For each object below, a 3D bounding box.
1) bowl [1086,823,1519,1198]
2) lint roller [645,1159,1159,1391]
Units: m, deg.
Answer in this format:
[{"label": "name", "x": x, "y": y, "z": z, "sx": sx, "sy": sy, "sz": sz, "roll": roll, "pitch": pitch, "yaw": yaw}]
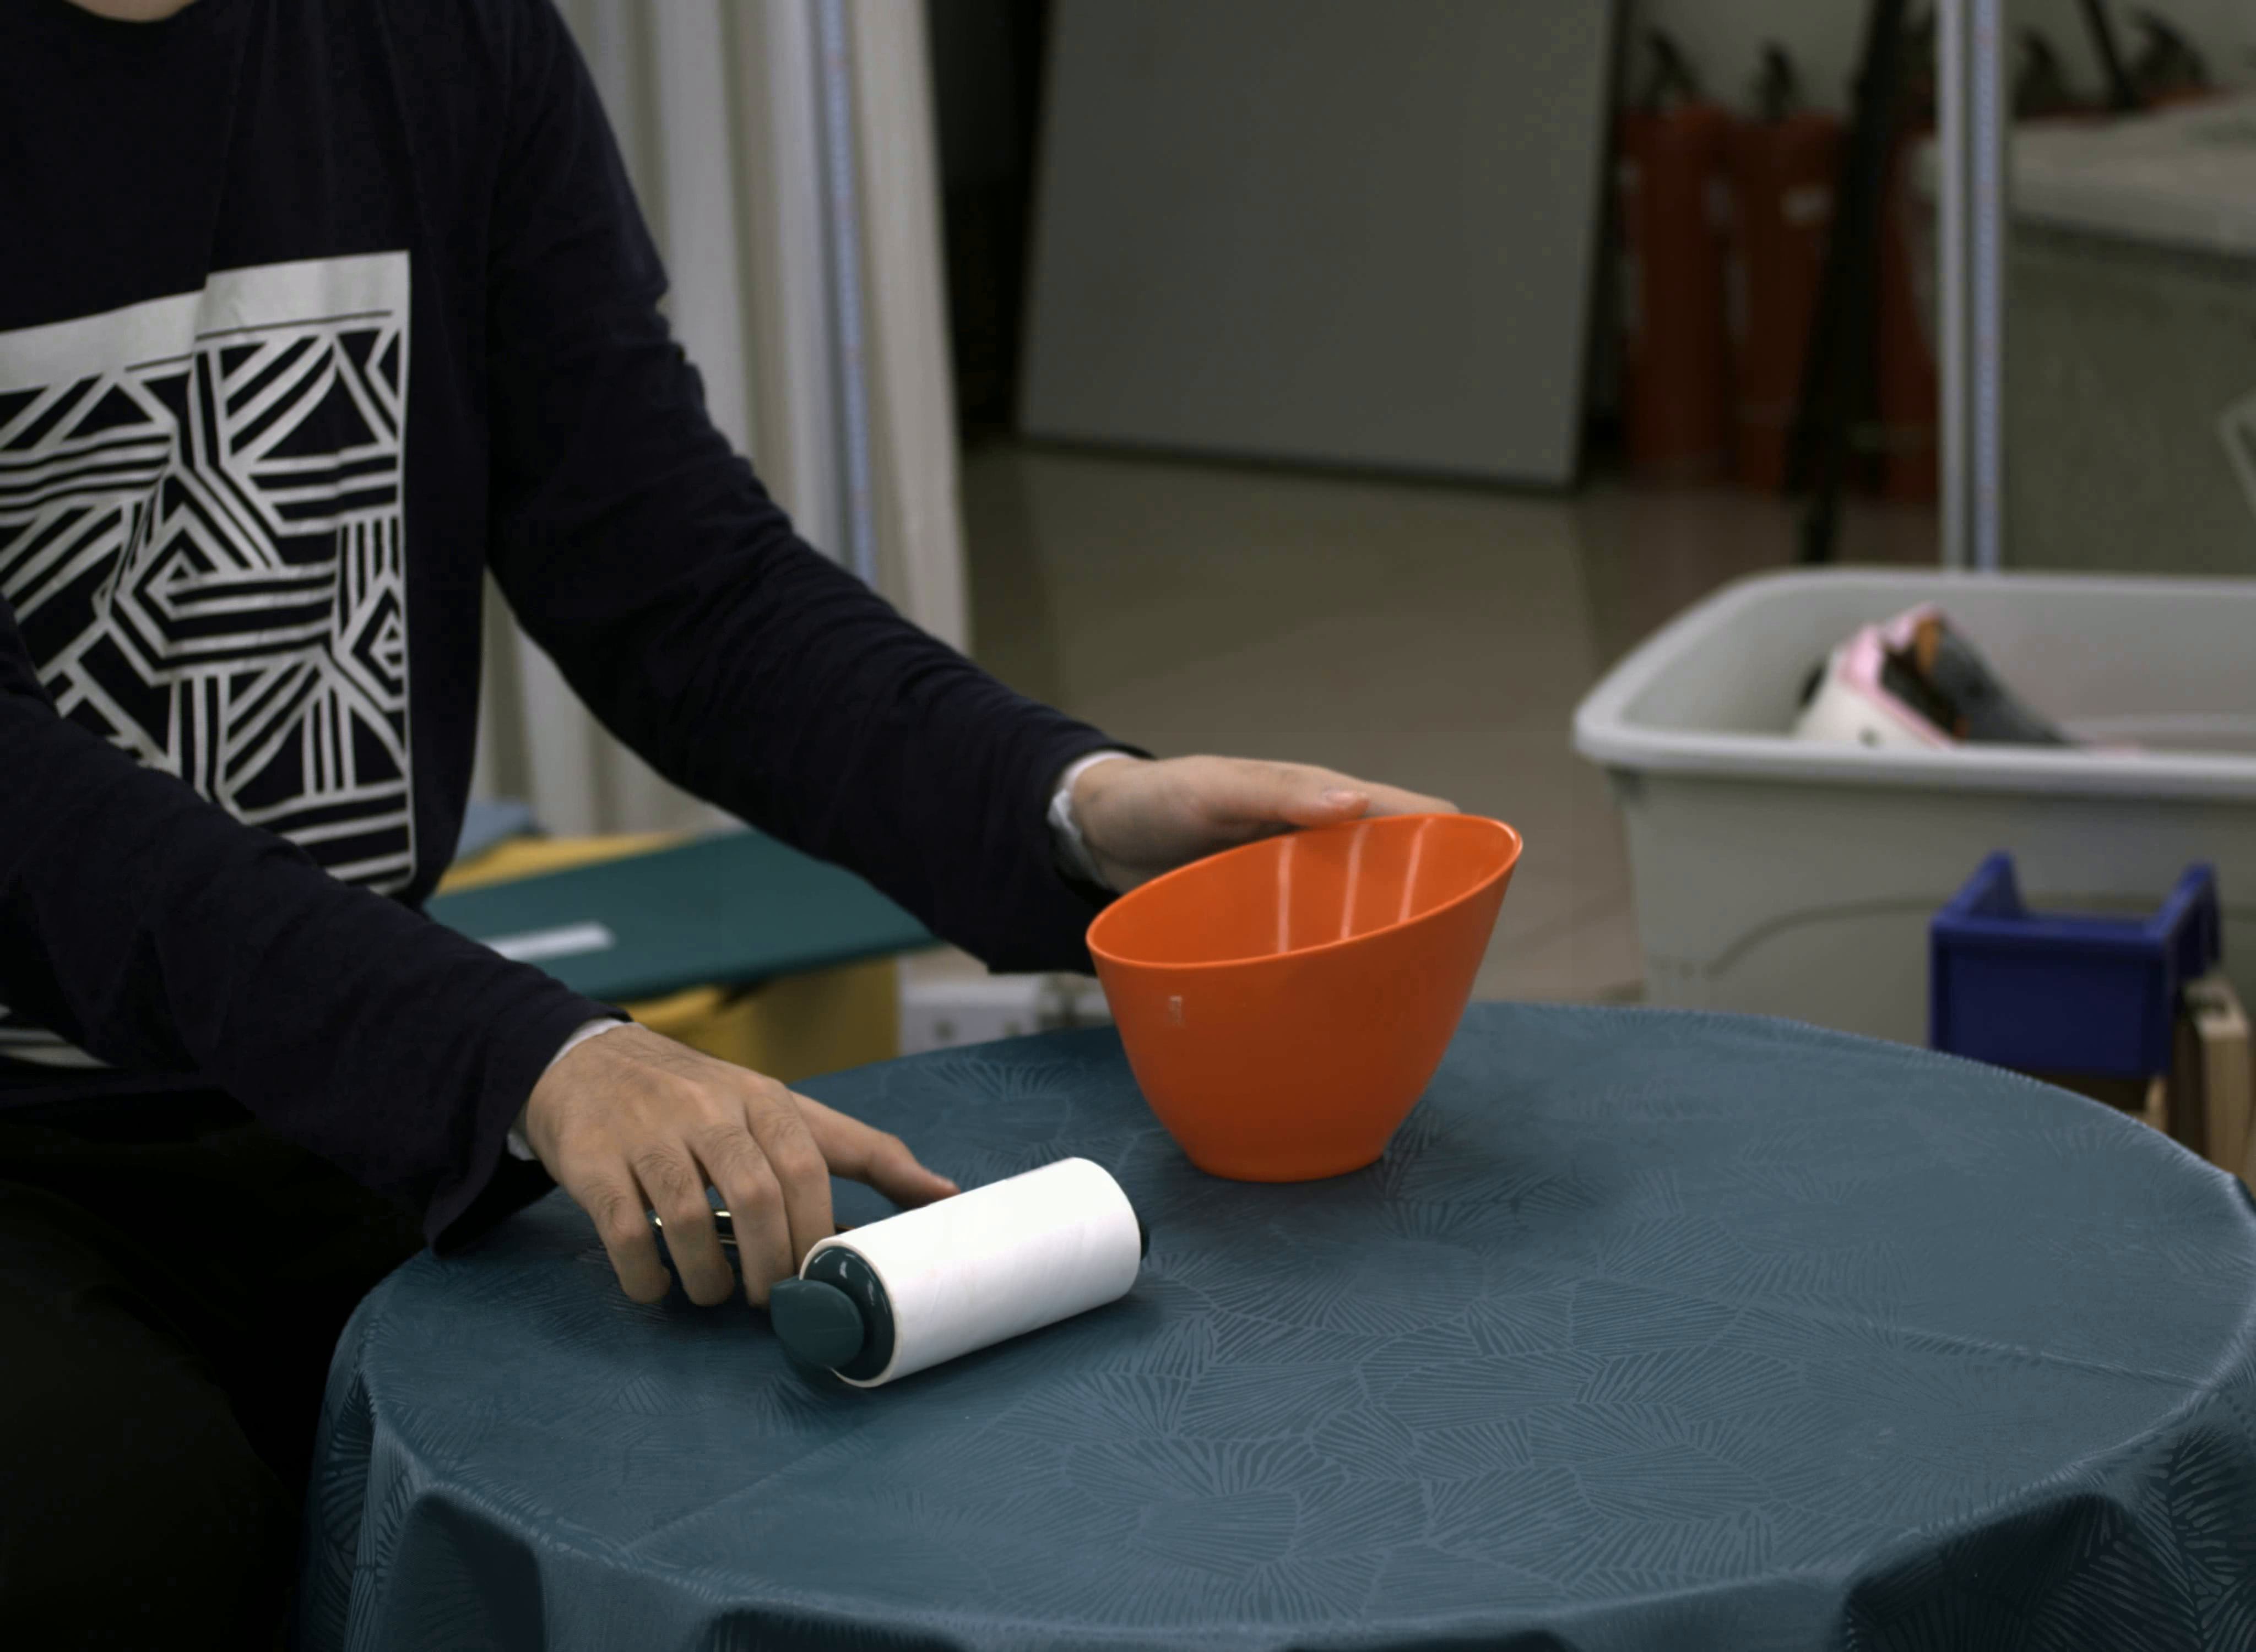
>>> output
[{"label": "bowl", "x": 0.062, "y": 0.063, "z": 1.789, "sx": 0.146, "sy": 0.106, "sz": 0.148, "roll": -6, "pitch": 11, "yaw": 0}, {"label": "lint roller", "x": -0.093, "y": 0.131, "z": 1.681, "sx": 0.131, "sy": 0.049, "sz": 0.182, "roll": -15, "pitch": 14, "yaw": -40}]
